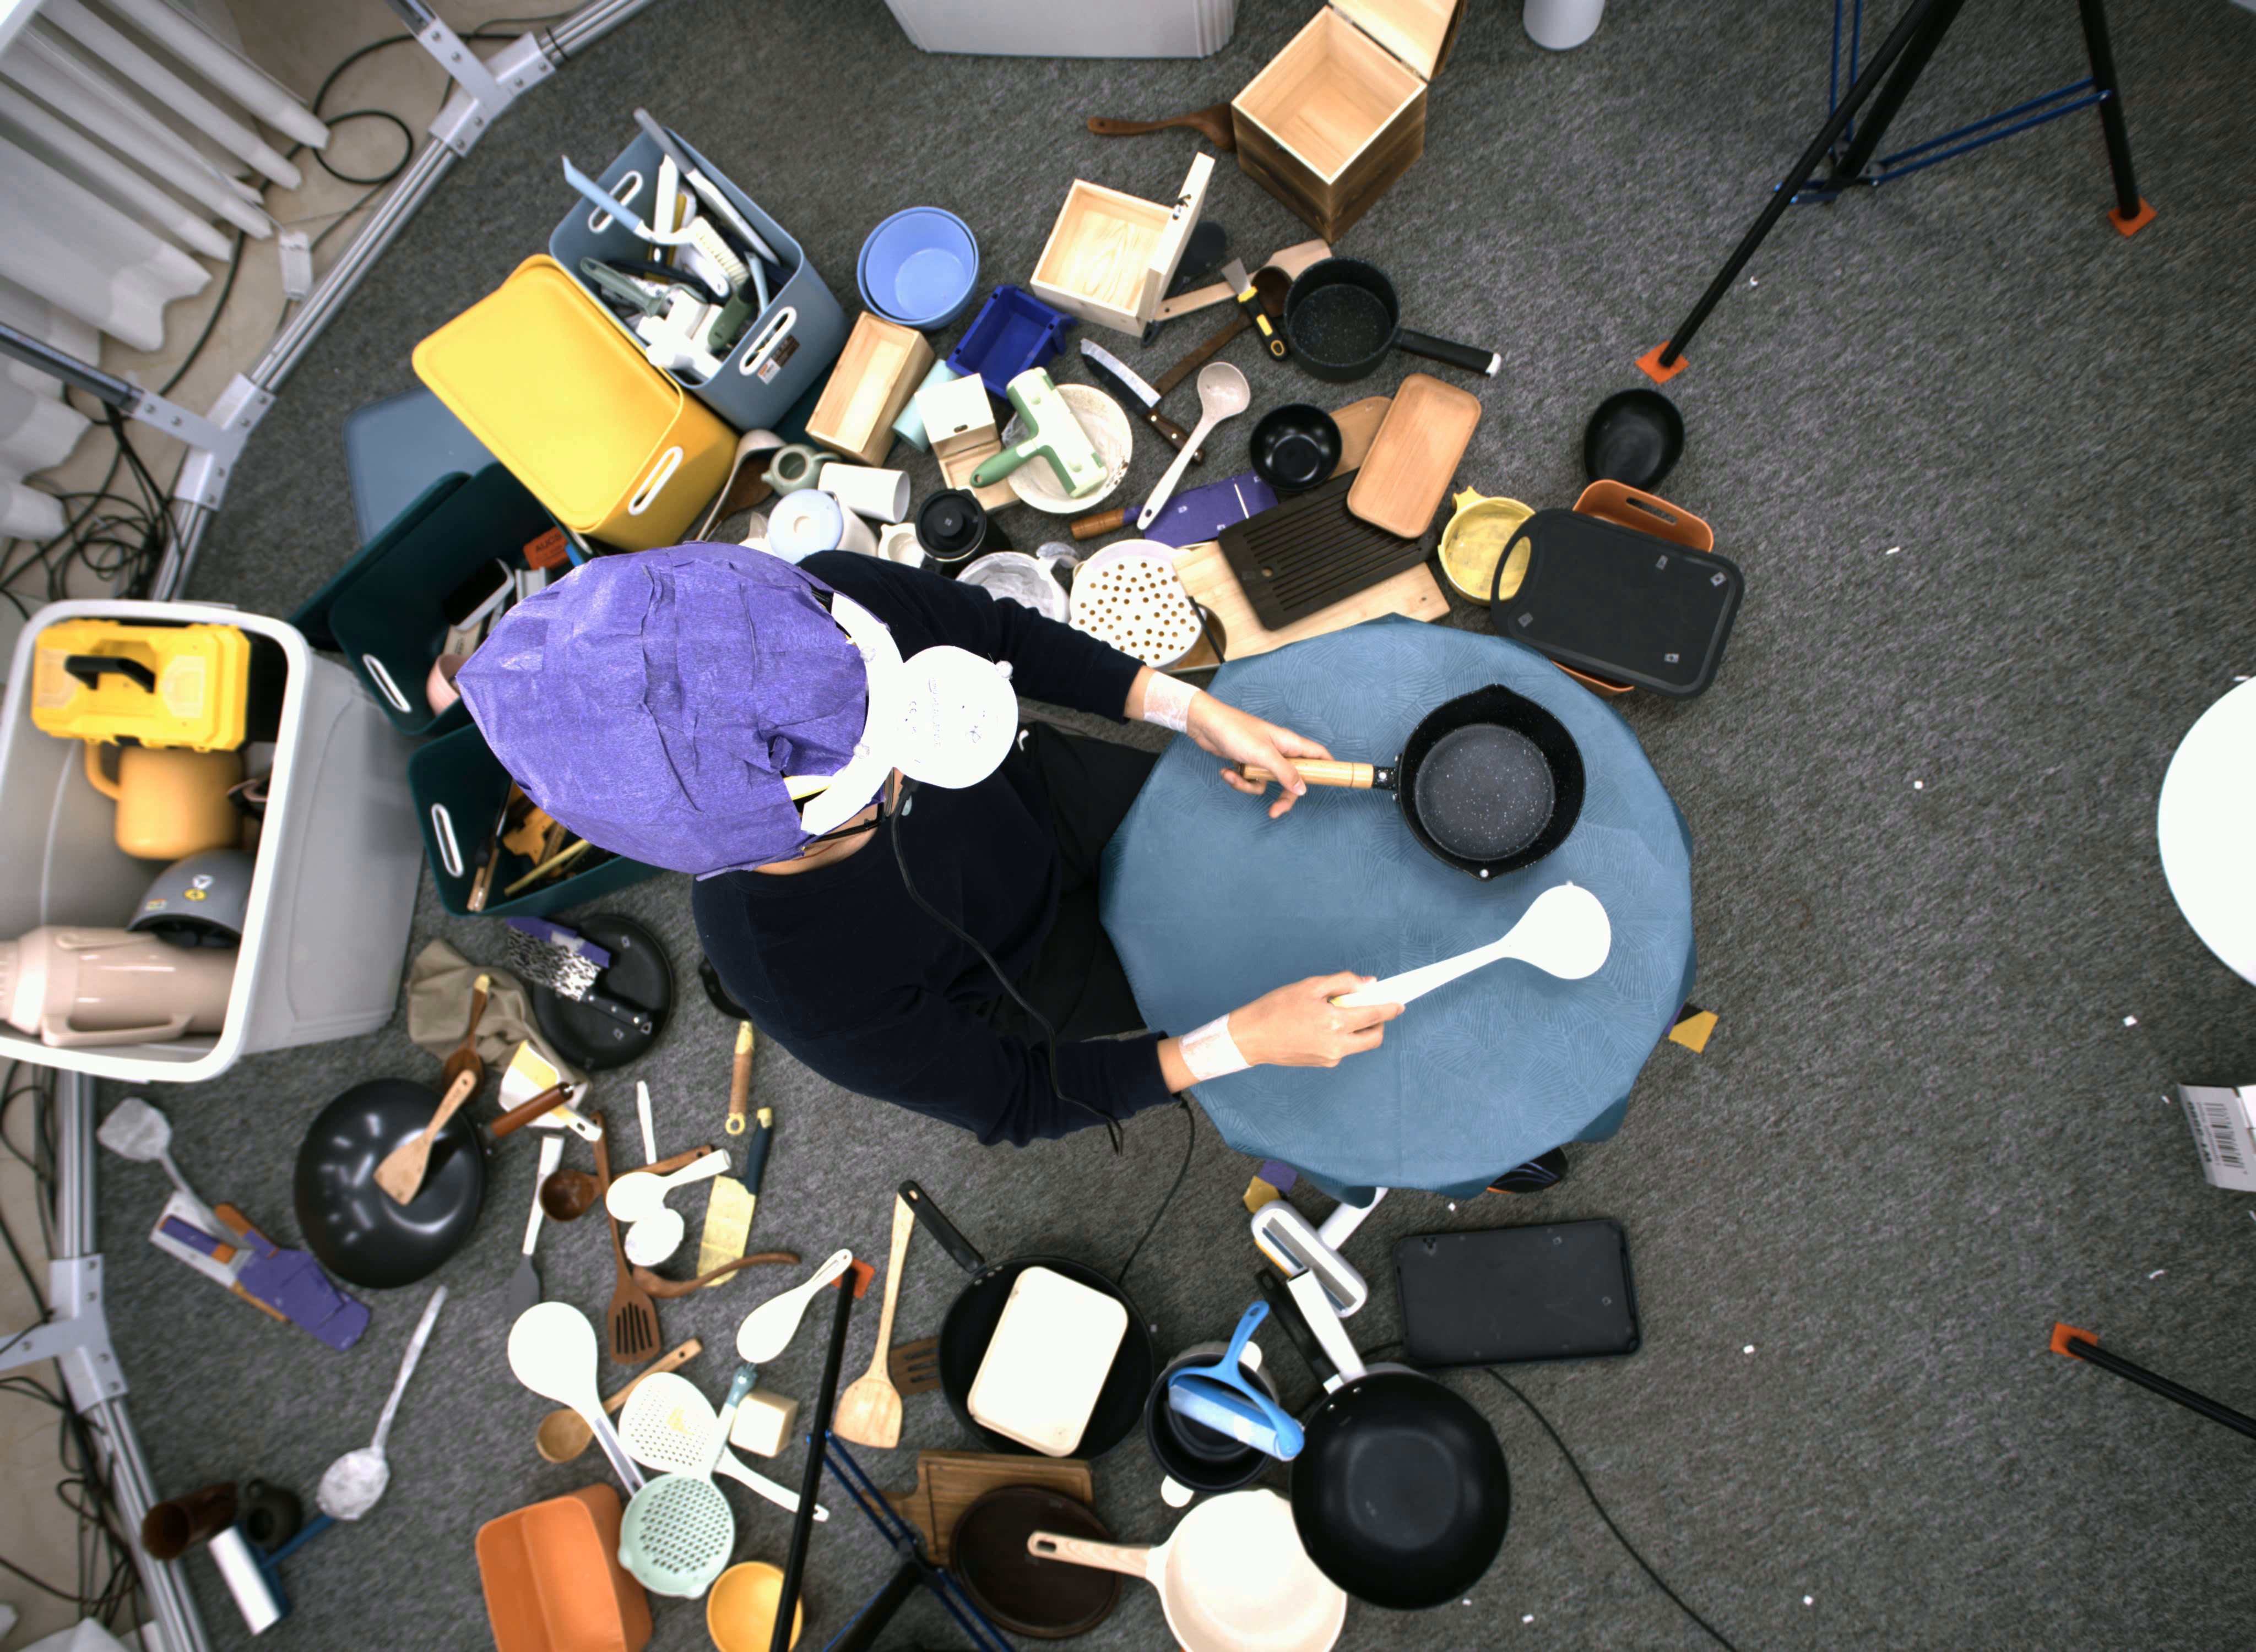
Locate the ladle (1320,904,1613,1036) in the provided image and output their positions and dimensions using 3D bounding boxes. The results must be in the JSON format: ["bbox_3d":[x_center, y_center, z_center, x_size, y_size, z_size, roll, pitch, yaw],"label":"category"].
[{"bbox_3d":[0.325,0.144,1.314,0.291,0.070,0.091,-16,103,-19],"label":"ladle"}]

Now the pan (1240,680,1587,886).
[{"bbox_3d":[0.288,-0.046,1.408,0.344,0.108,0.207,3,88,9],"label":"pan"}]
